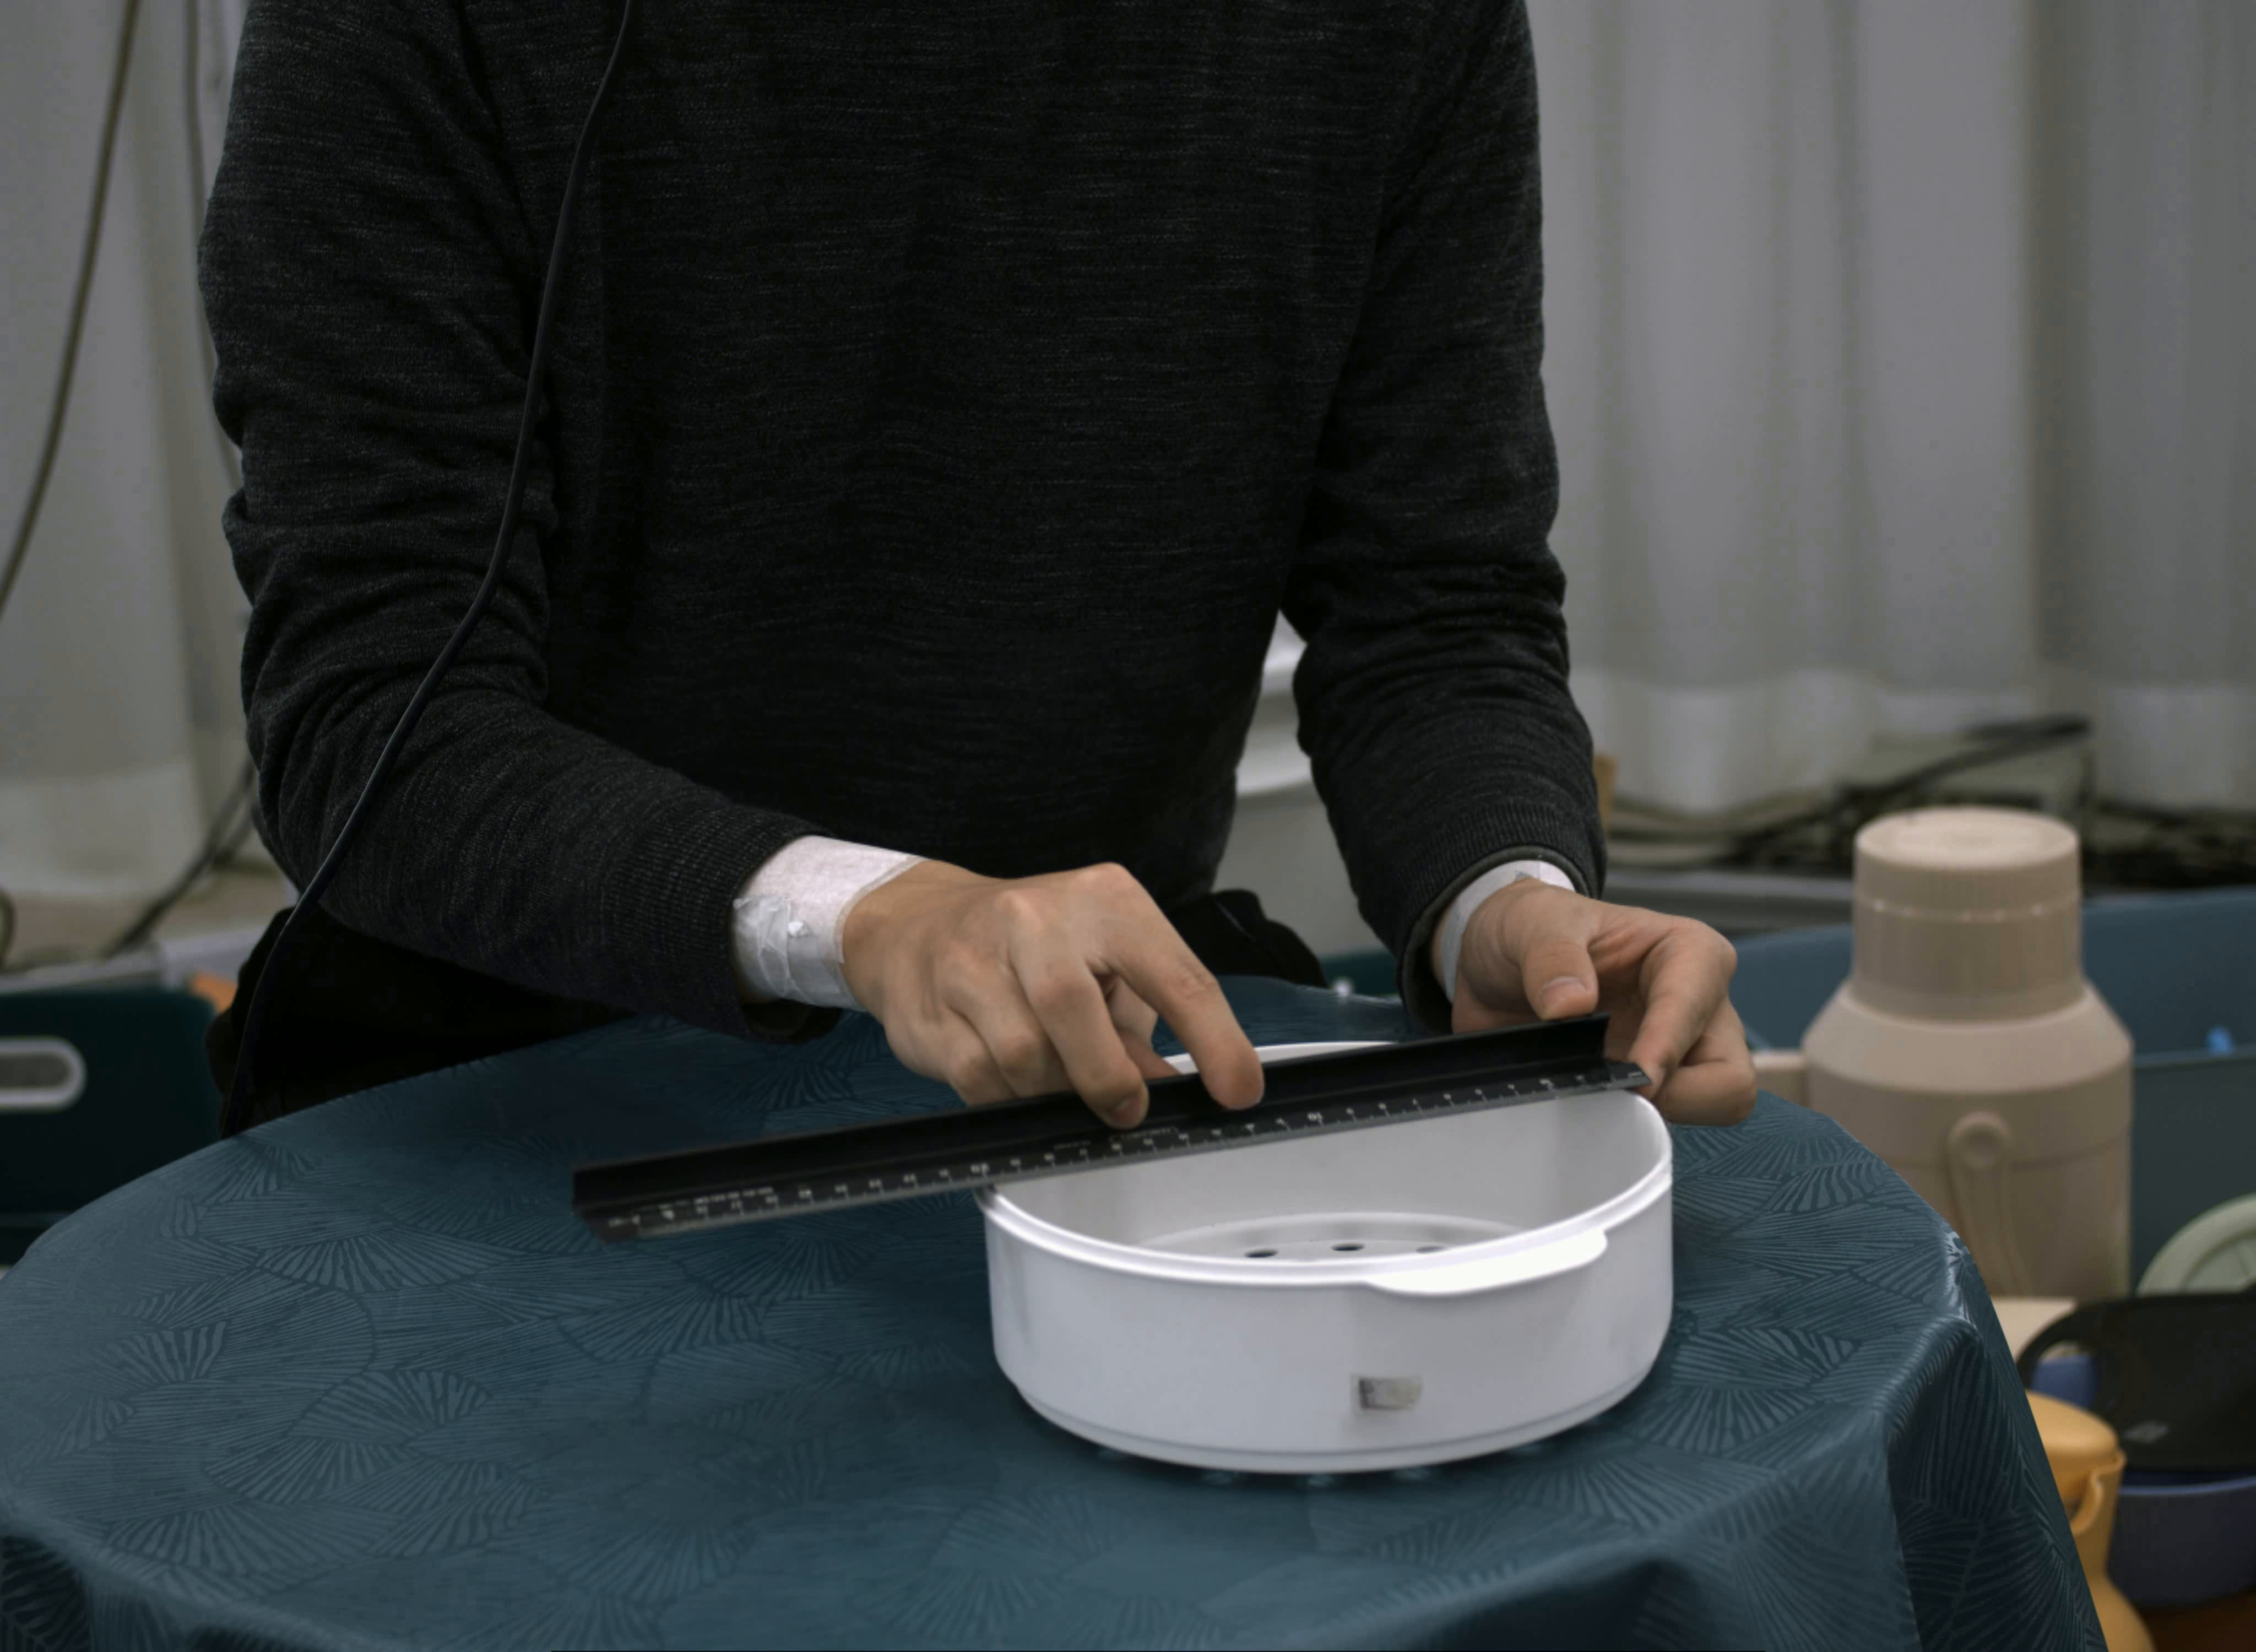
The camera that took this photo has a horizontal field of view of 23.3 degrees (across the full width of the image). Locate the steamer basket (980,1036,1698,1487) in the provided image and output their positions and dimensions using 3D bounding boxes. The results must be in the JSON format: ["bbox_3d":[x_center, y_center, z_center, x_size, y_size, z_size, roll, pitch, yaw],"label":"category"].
[{"bbox_3d":[0.060,0.122,1.541,0.201,0.069,0.232,-9,18,-24],"label":"steamer basket"}]

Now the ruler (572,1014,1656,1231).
[{"bbox_3d":[-0.001,0.083,1.537,0.311,0.017,0.039,-7,14,-17],"label":"ruler"}]
